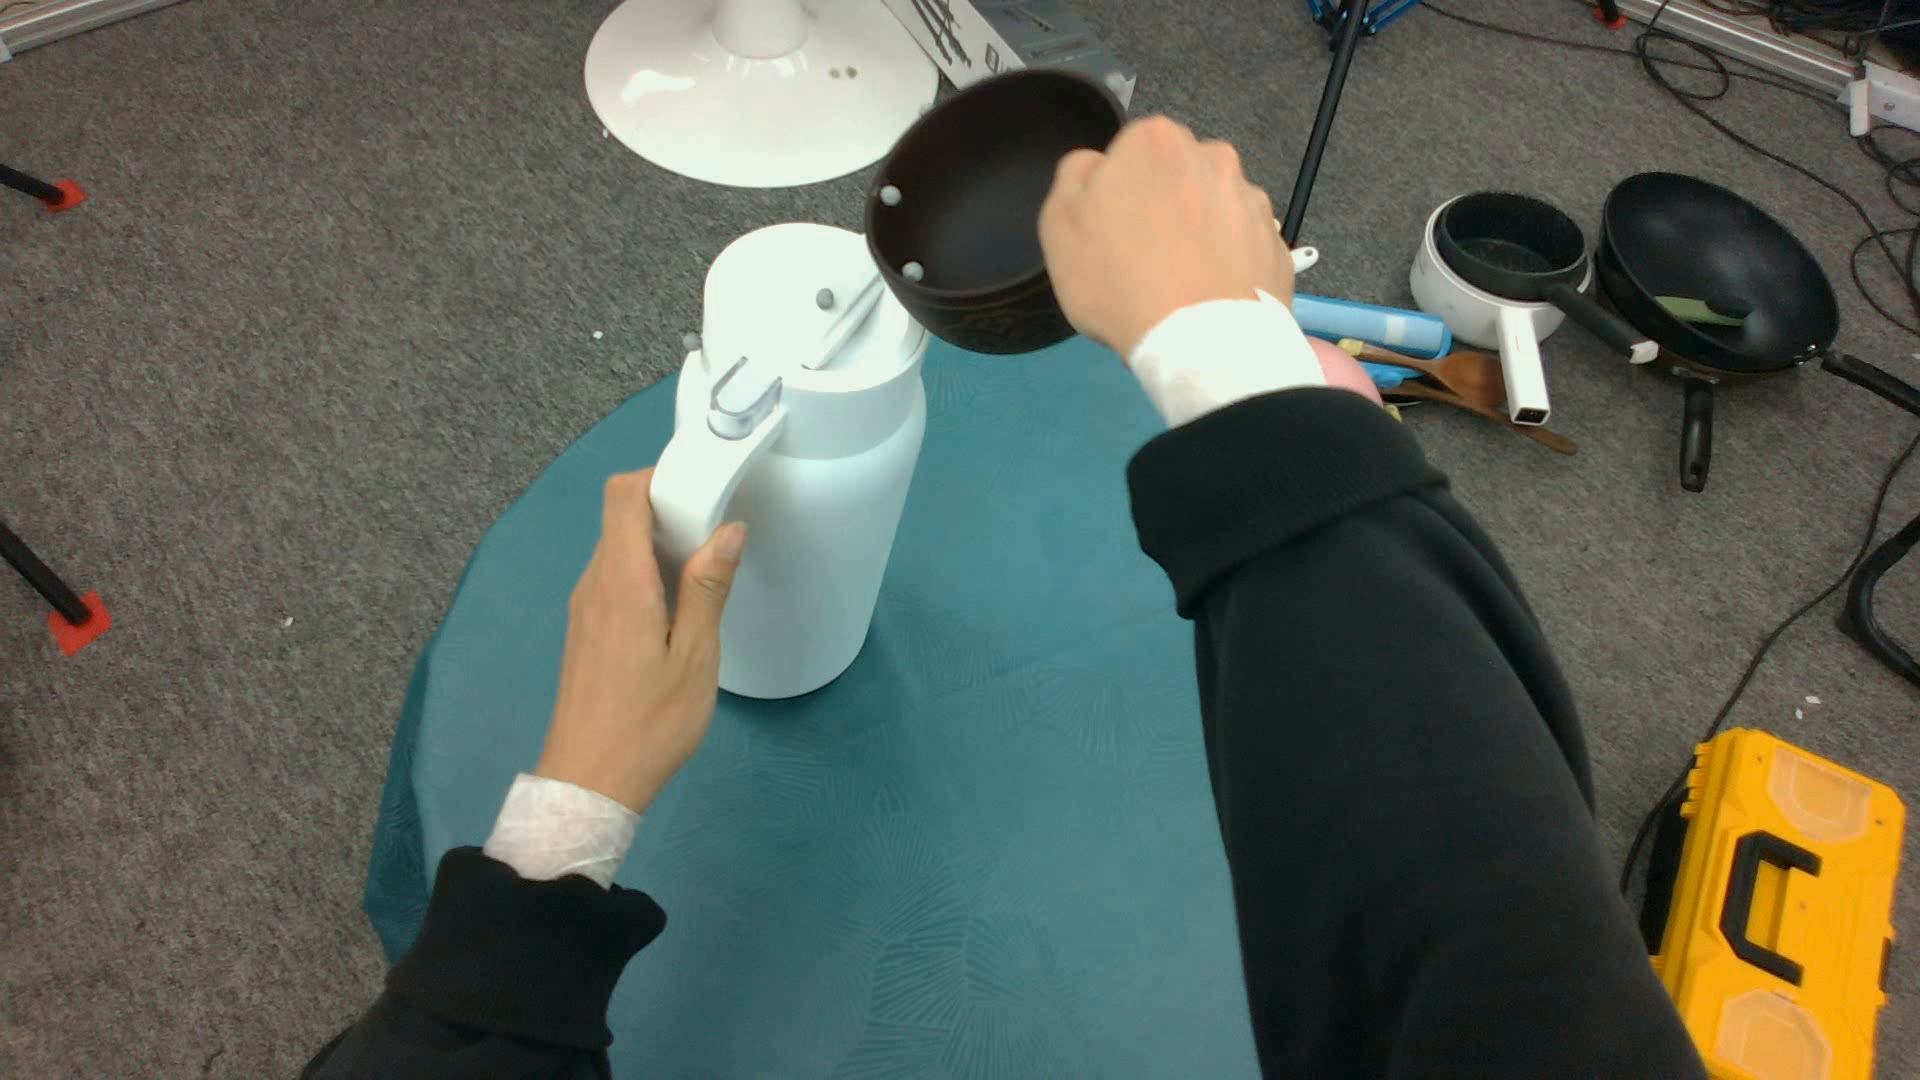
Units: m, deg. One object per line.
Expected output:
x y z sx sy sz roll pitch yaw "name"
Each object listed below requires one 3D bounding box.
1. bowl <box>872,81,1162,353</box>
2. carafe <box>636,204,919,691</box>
0.028 -0.128 0.581 0.118 0.069 0.118 -8 57 13 "bowl"
-0.098 -0.022 0.685 0.124 0.267 0.173 29 54 5 "carafe"
